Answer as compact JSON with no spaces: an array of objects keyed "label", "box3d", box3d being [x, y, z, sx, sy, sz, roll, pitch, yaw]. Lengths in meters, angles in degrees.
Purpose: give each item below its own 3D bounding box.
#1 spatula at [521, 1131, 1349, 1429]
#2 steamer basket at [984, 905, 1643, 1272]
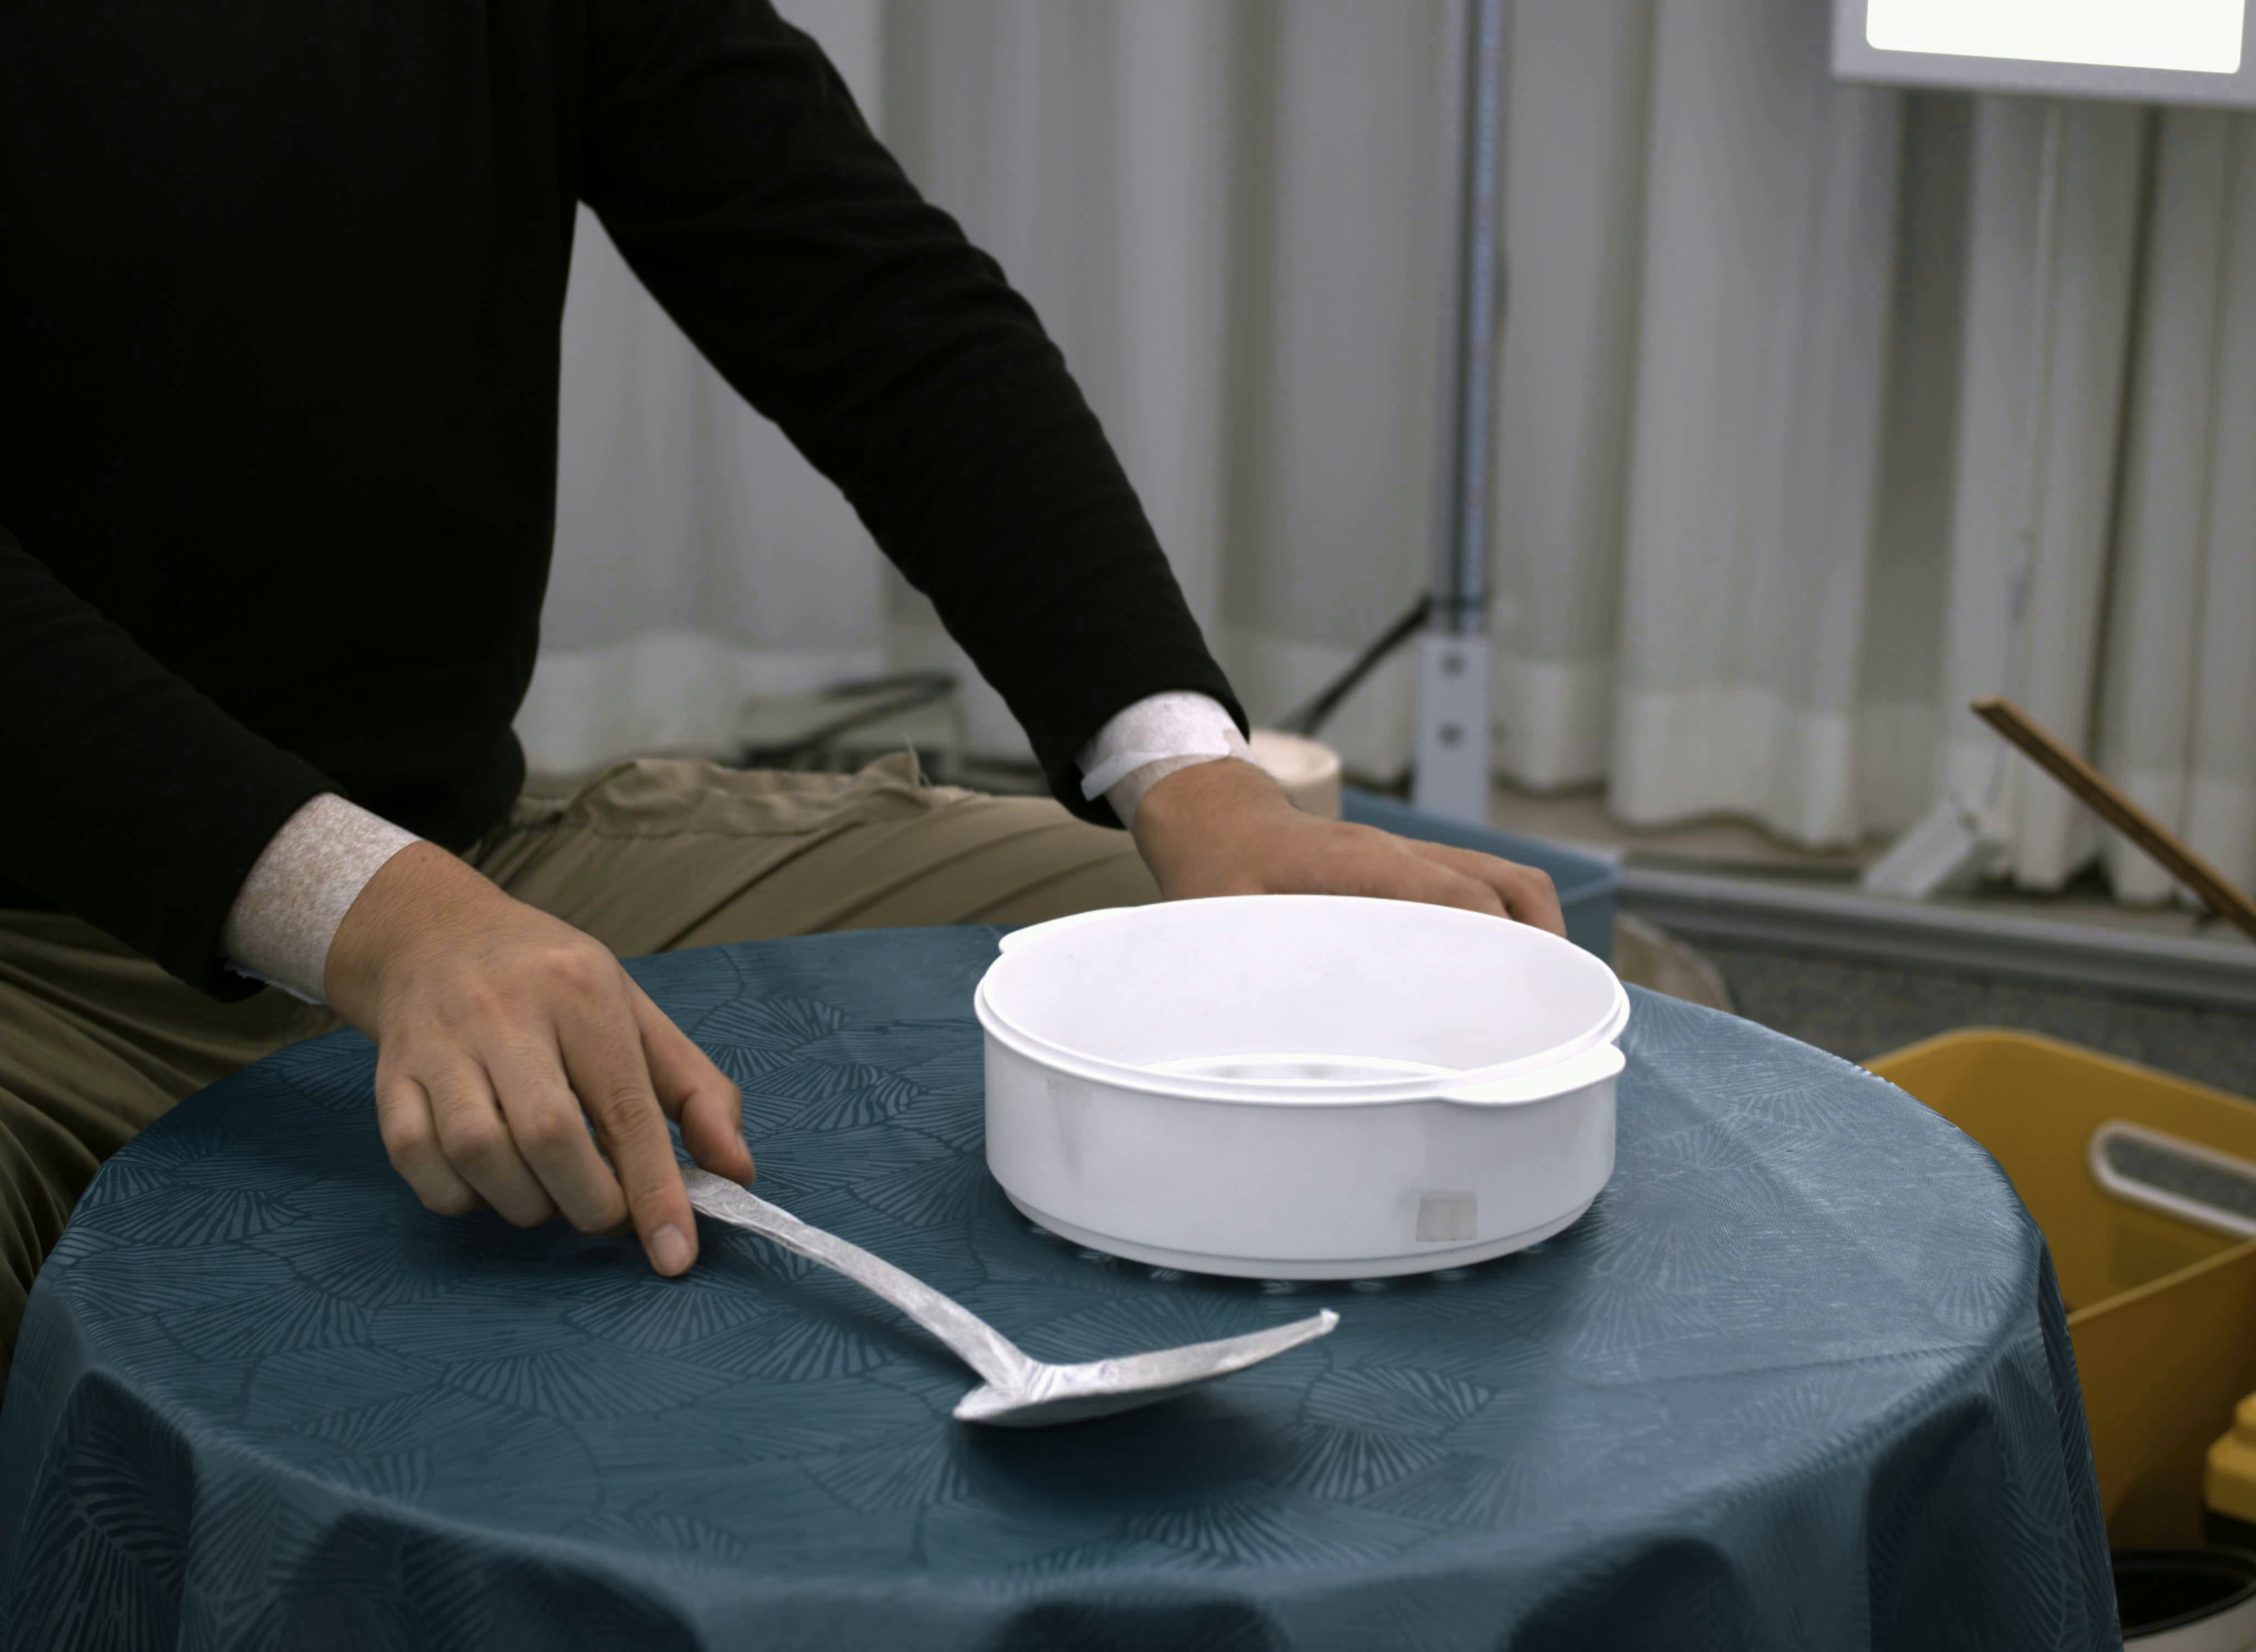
[{"label":"spatula","box3d":[-0.080,0.120,1.518,0.099,0.045,0.360,-15,21,-37]},{"label":"steamer basket","box3d":[0.056,0.080,1.609,0.203,0.070,0.227,-12,19,-41]}]
